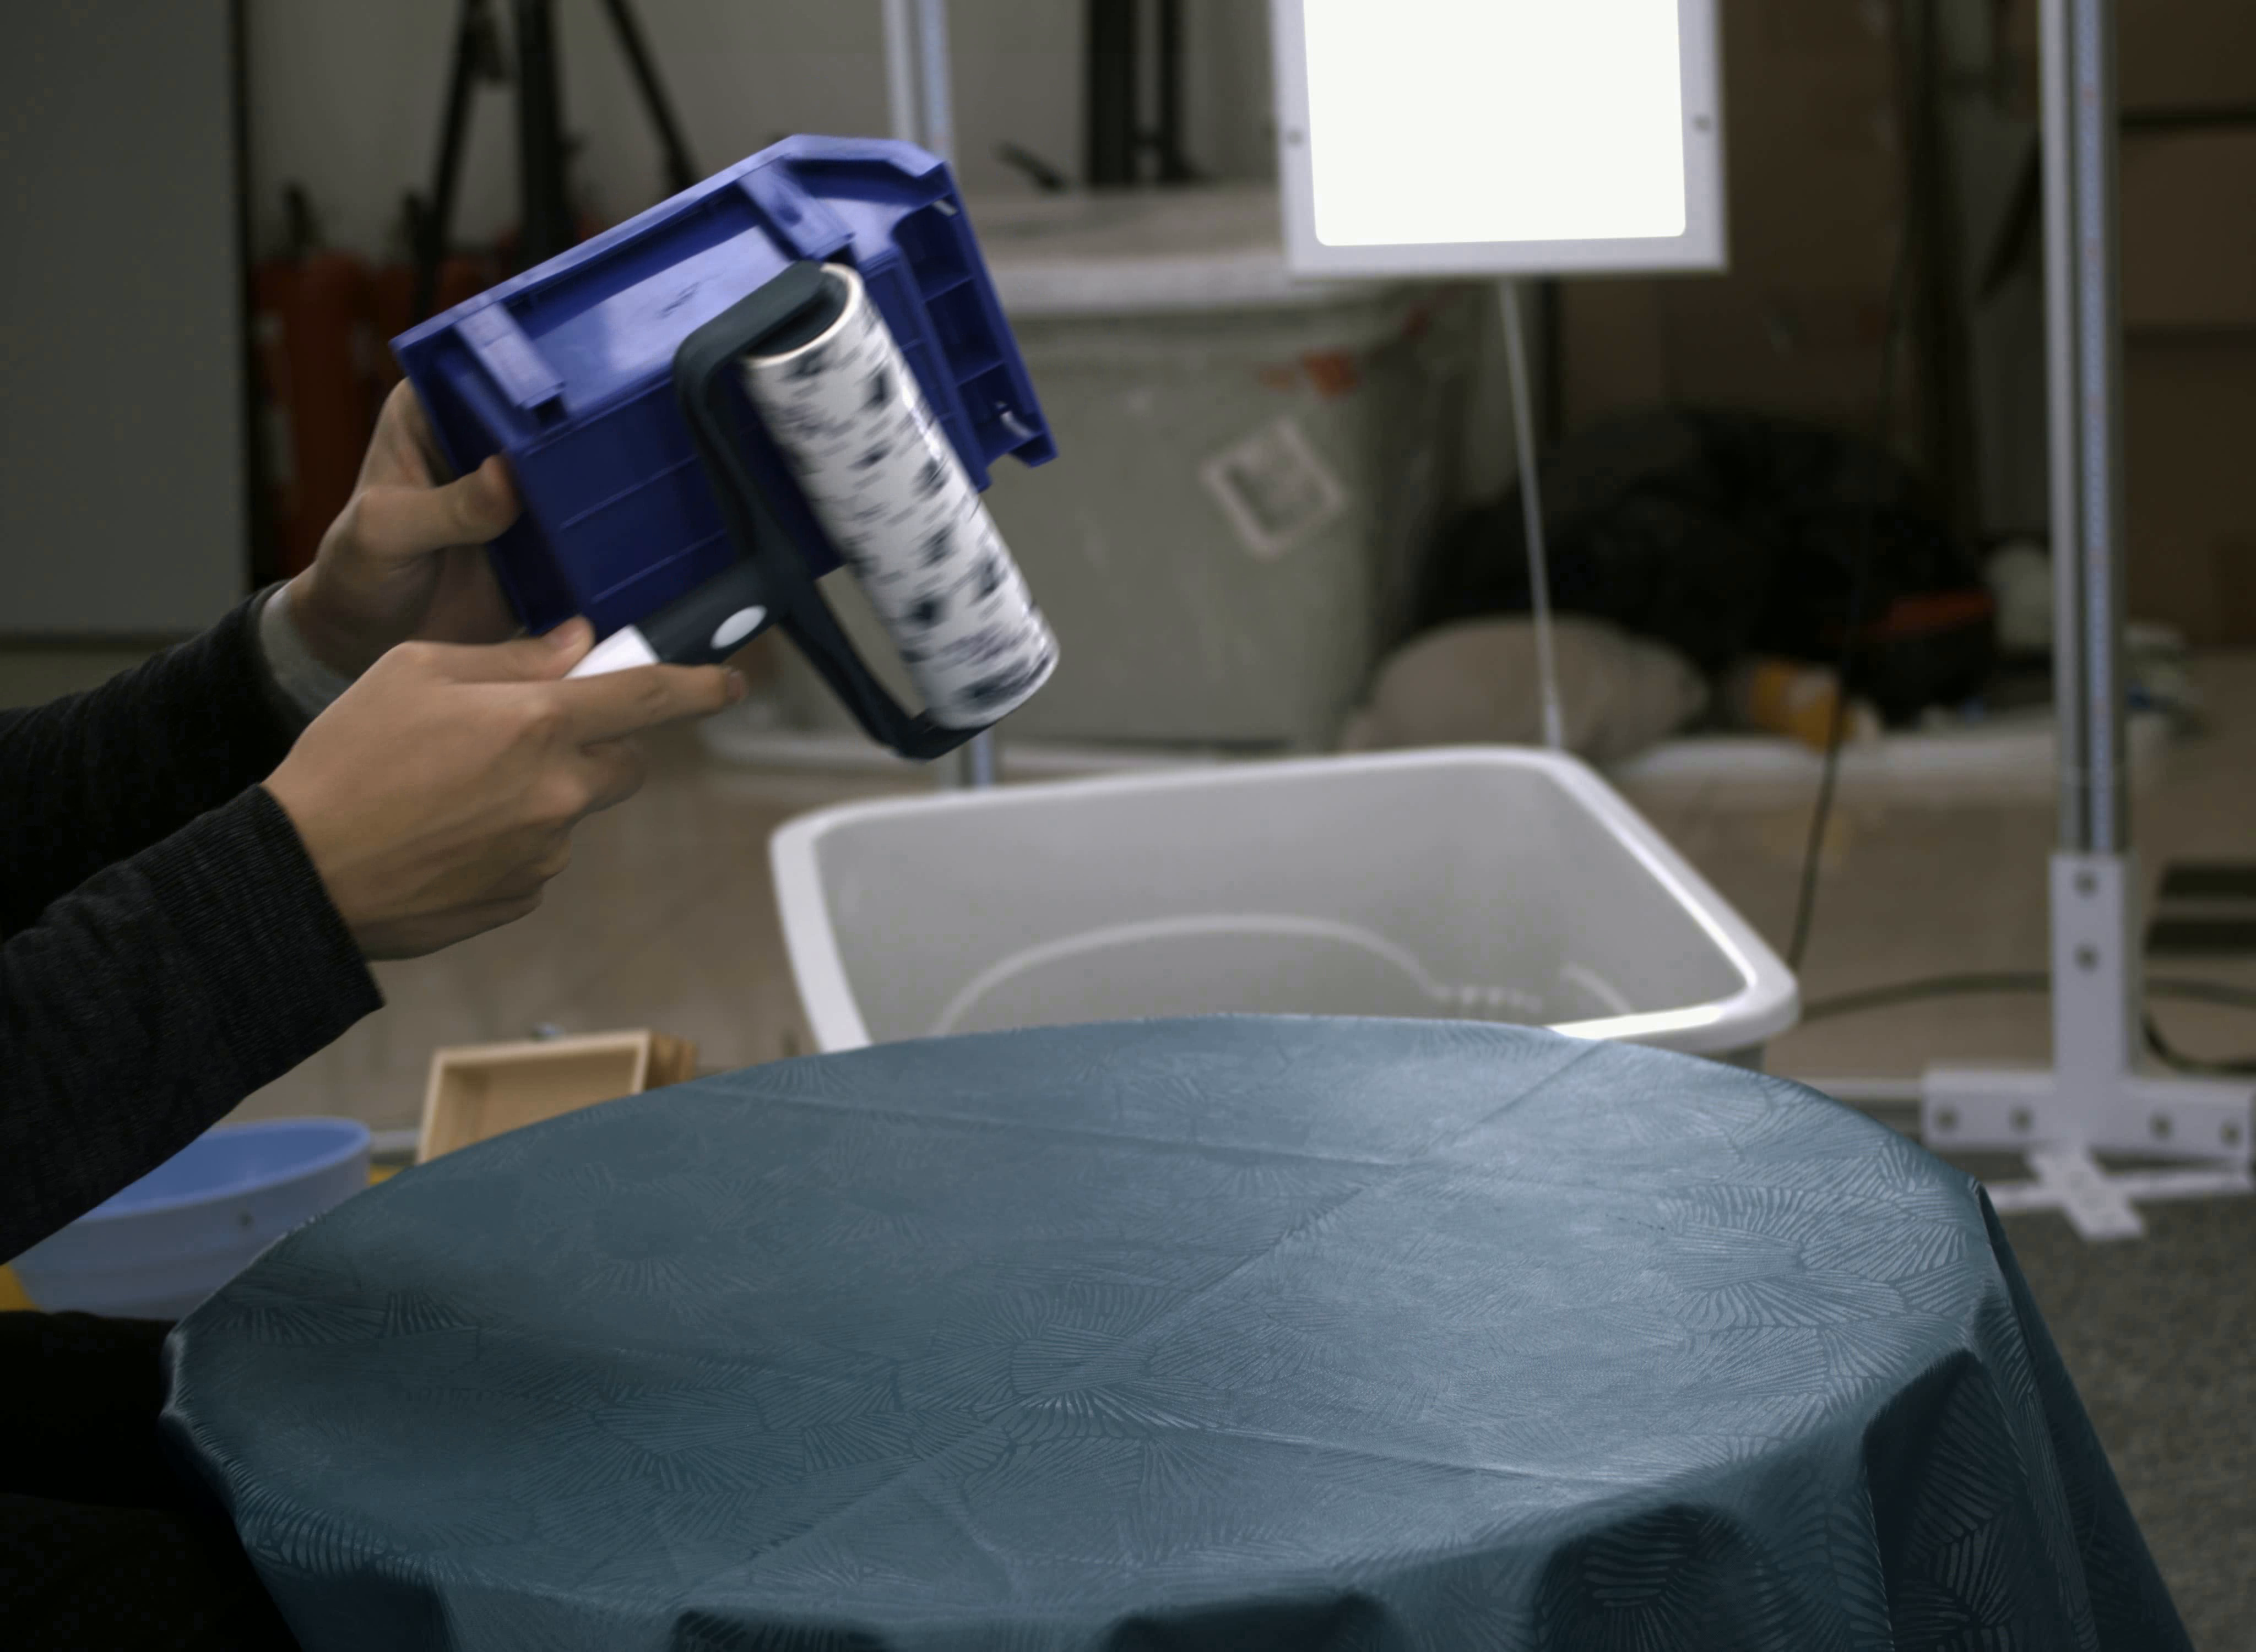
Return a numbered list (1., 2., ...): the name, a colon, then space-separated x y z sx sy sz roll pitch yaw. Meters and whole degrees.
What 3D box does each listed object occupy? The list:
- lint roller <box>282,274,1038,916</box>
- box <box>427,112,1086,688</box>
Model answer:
1. lint roller: -0.159 -0.043 1.749 0.245 0.175 0.051 -36 38 -6
2. box: -0.116 -0.141 1.799 0.178 0.124 0.083 -30 36 -9
